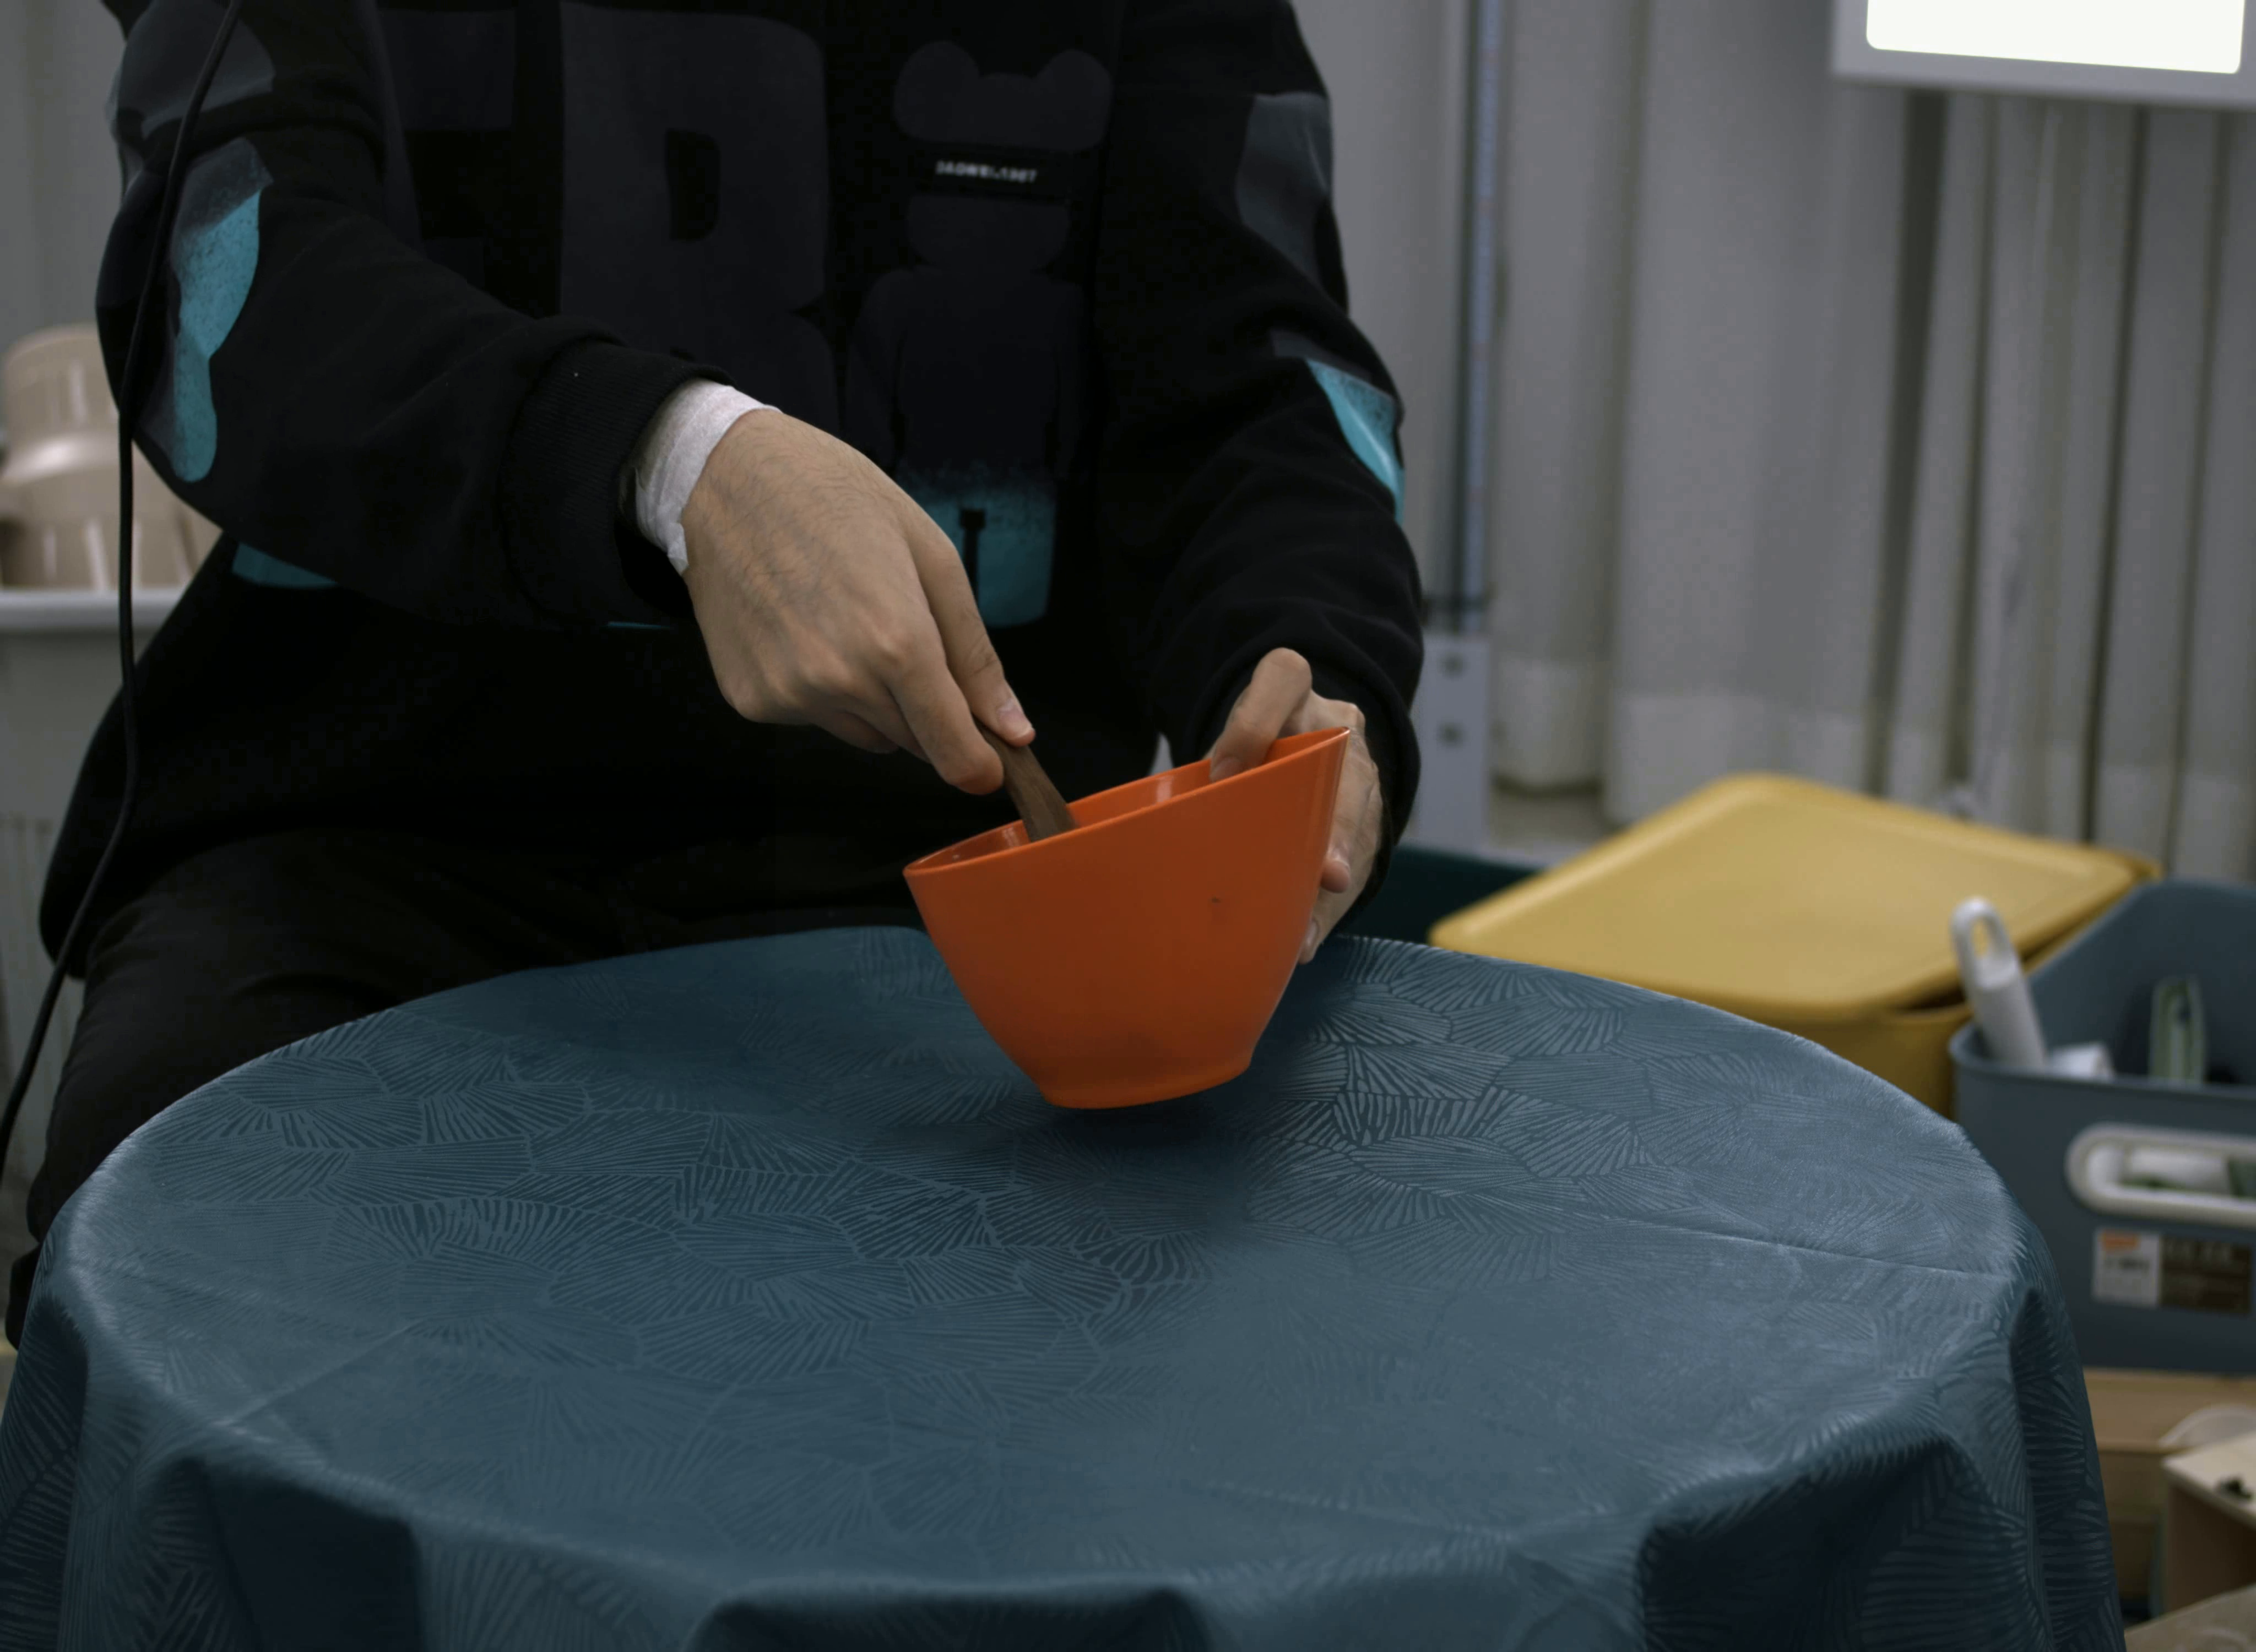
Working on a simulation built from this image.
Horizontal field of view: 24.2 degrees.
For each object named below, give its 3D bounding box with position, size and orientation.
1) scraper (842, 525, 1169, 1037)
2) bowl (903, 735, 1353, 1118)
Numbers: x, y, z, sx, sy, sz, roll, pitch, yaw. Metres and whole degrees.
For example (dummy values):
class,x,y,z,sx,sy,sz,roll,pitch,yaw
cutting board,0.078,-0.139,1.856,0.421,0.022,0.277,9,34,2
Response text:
class,x,y,z,sx,sy,sz,roll,pitch,yaw
scraper,-0.033,-0.015,1.690,0.076,0.011,0.210,-4,56,-55
bowl,0.007,0.034,1.664,0.147,0.105,0.147,-10,10,2
